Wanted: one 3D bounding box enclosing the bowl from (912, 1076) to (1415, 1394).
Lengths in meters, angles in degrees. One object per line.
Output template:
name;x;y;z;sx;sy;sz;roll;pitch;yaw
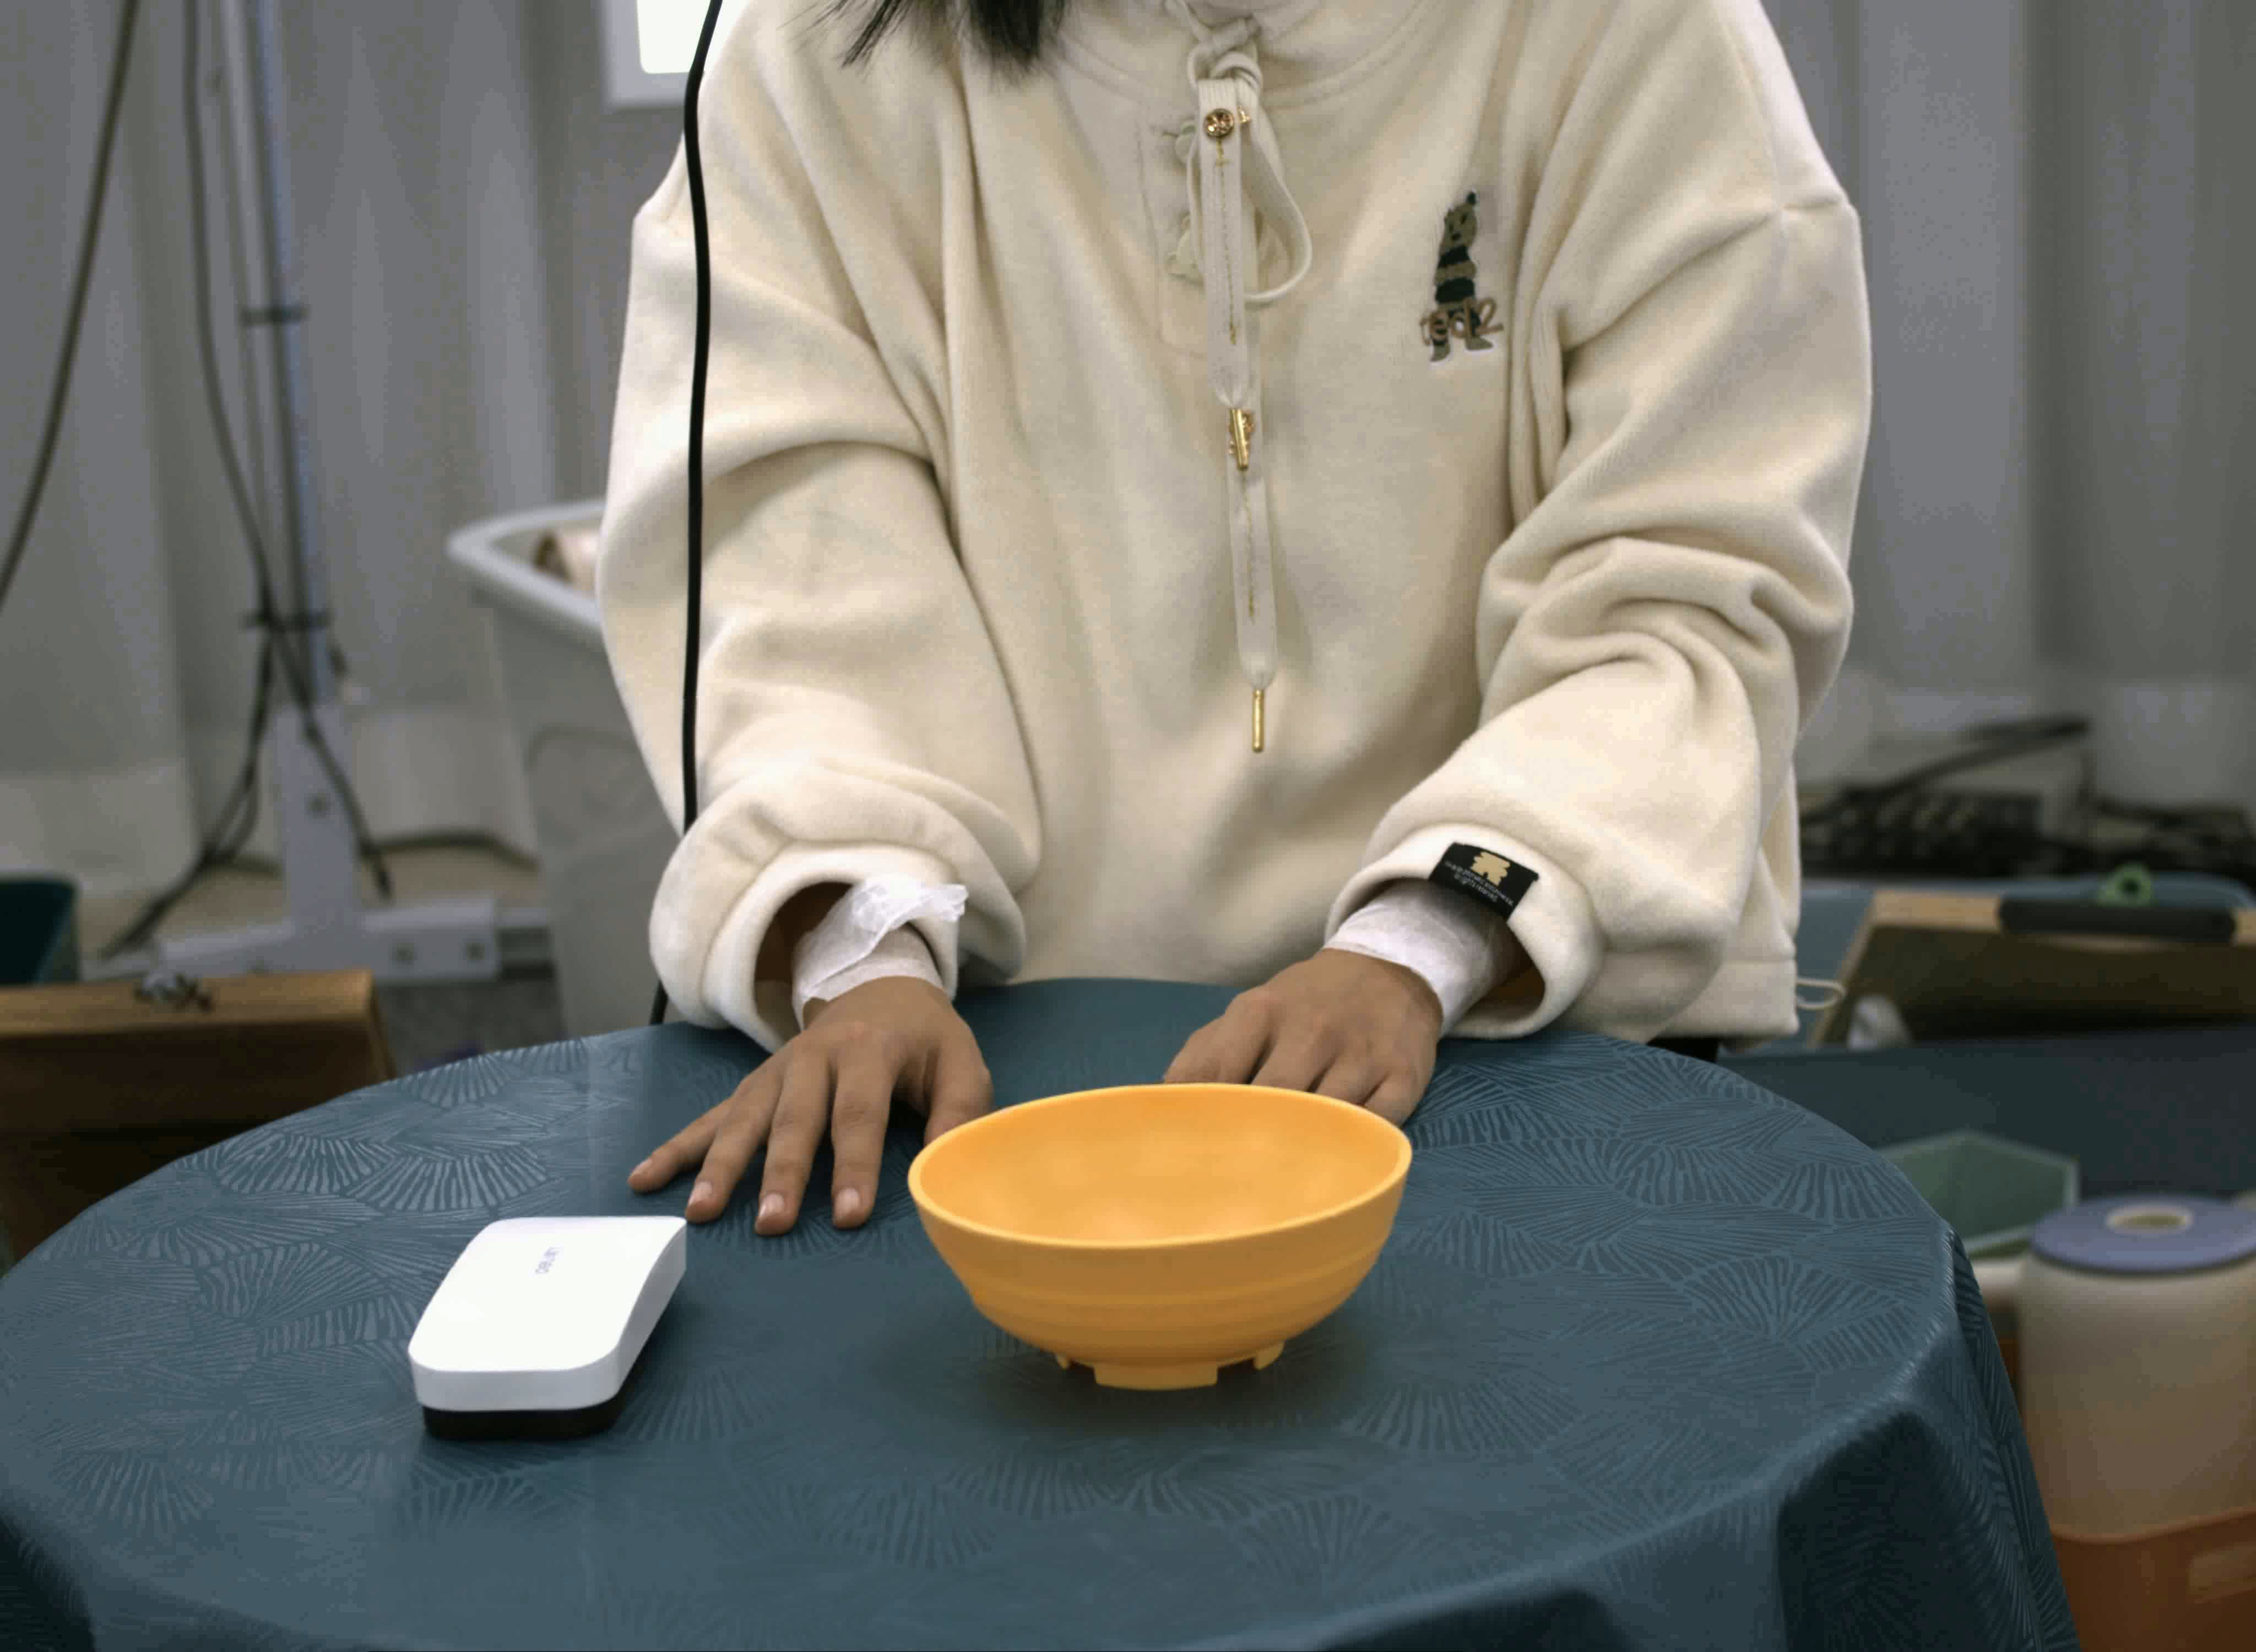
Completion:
bowl;0.012;0.123;1.568;0.145;0.060;0.146;-4;17;1

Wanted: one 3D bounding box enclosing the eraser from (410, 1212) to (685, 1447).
eraser;-0.165;0.142;1.586;0.063;0.034;0.132;0;16;6
